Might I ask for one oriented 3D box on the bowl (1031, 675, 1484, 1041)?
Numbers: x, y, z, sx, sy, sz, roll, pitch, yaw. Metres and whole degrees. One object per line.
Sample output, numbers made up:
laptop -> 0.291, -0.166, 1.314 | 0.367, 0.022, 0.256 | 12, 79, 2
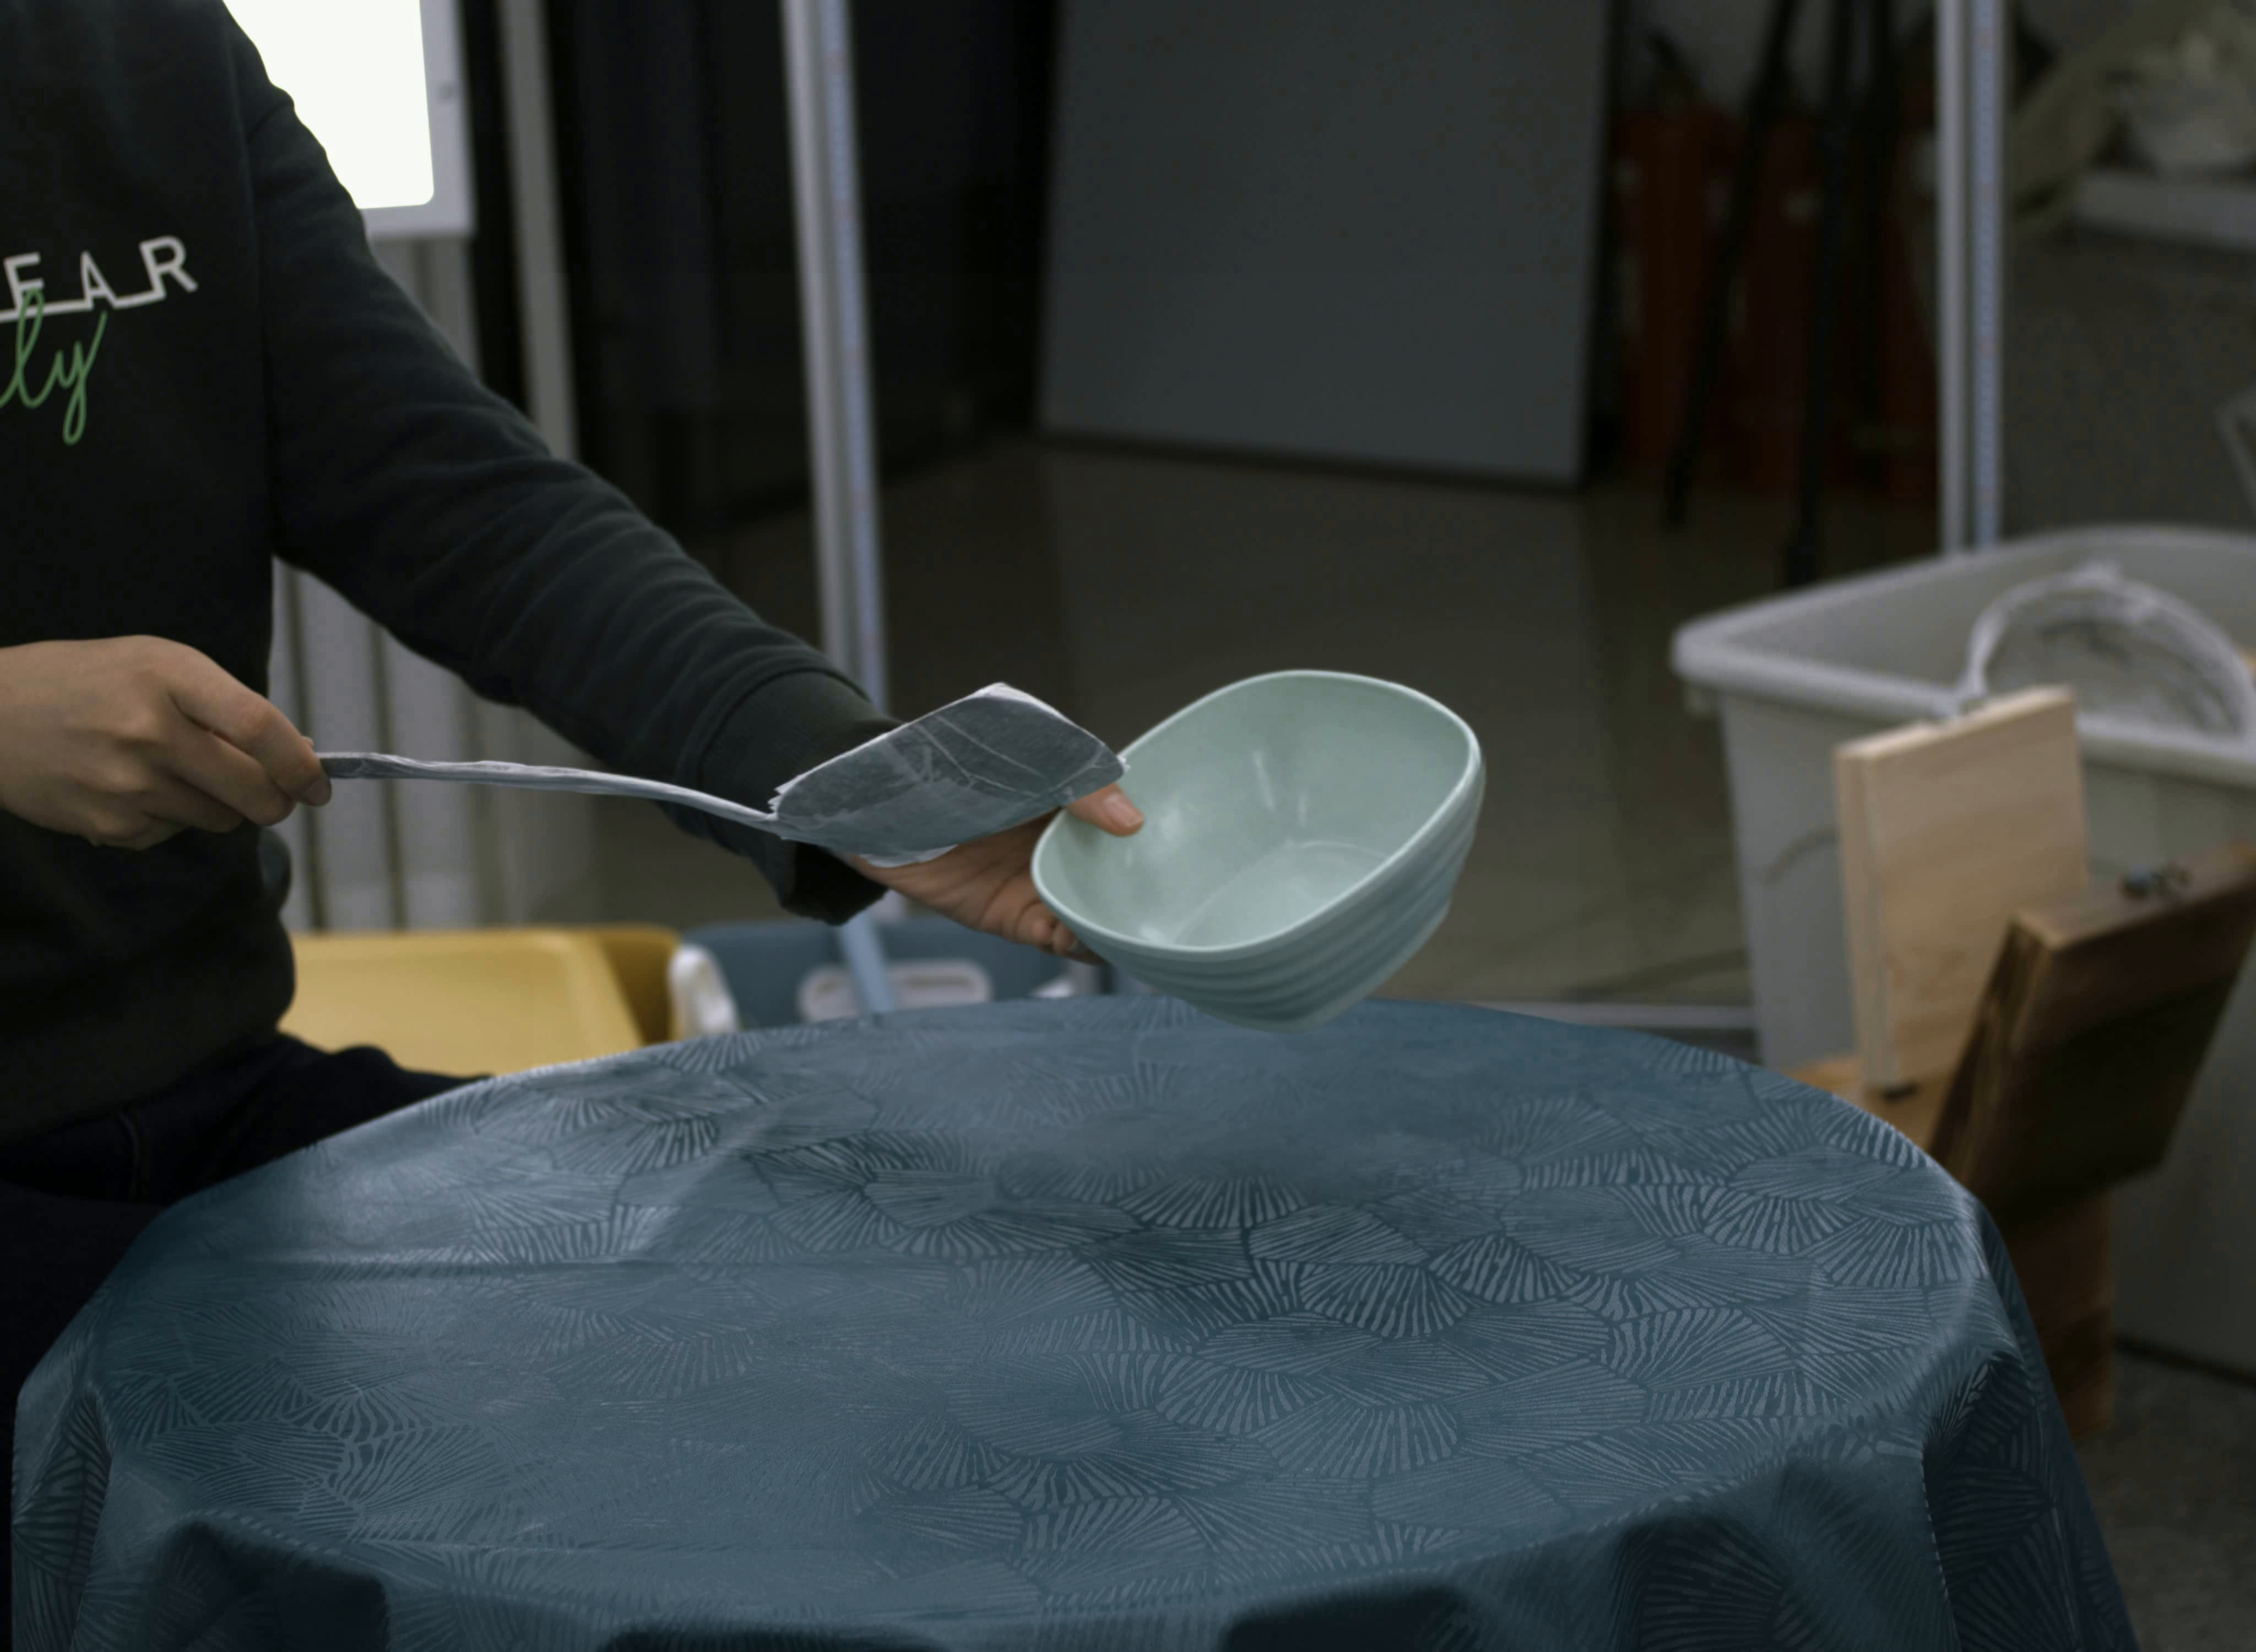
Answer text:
bowl -> 0.048, 0.017, 1.730 | 0.150, 0.058, 0.152 | -16, 32, 9

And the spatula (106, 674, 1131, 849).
spatula -> -0.172, -0.019, 1.671 | 0.366, 0.045, 0.097 | 2, -13, 28
